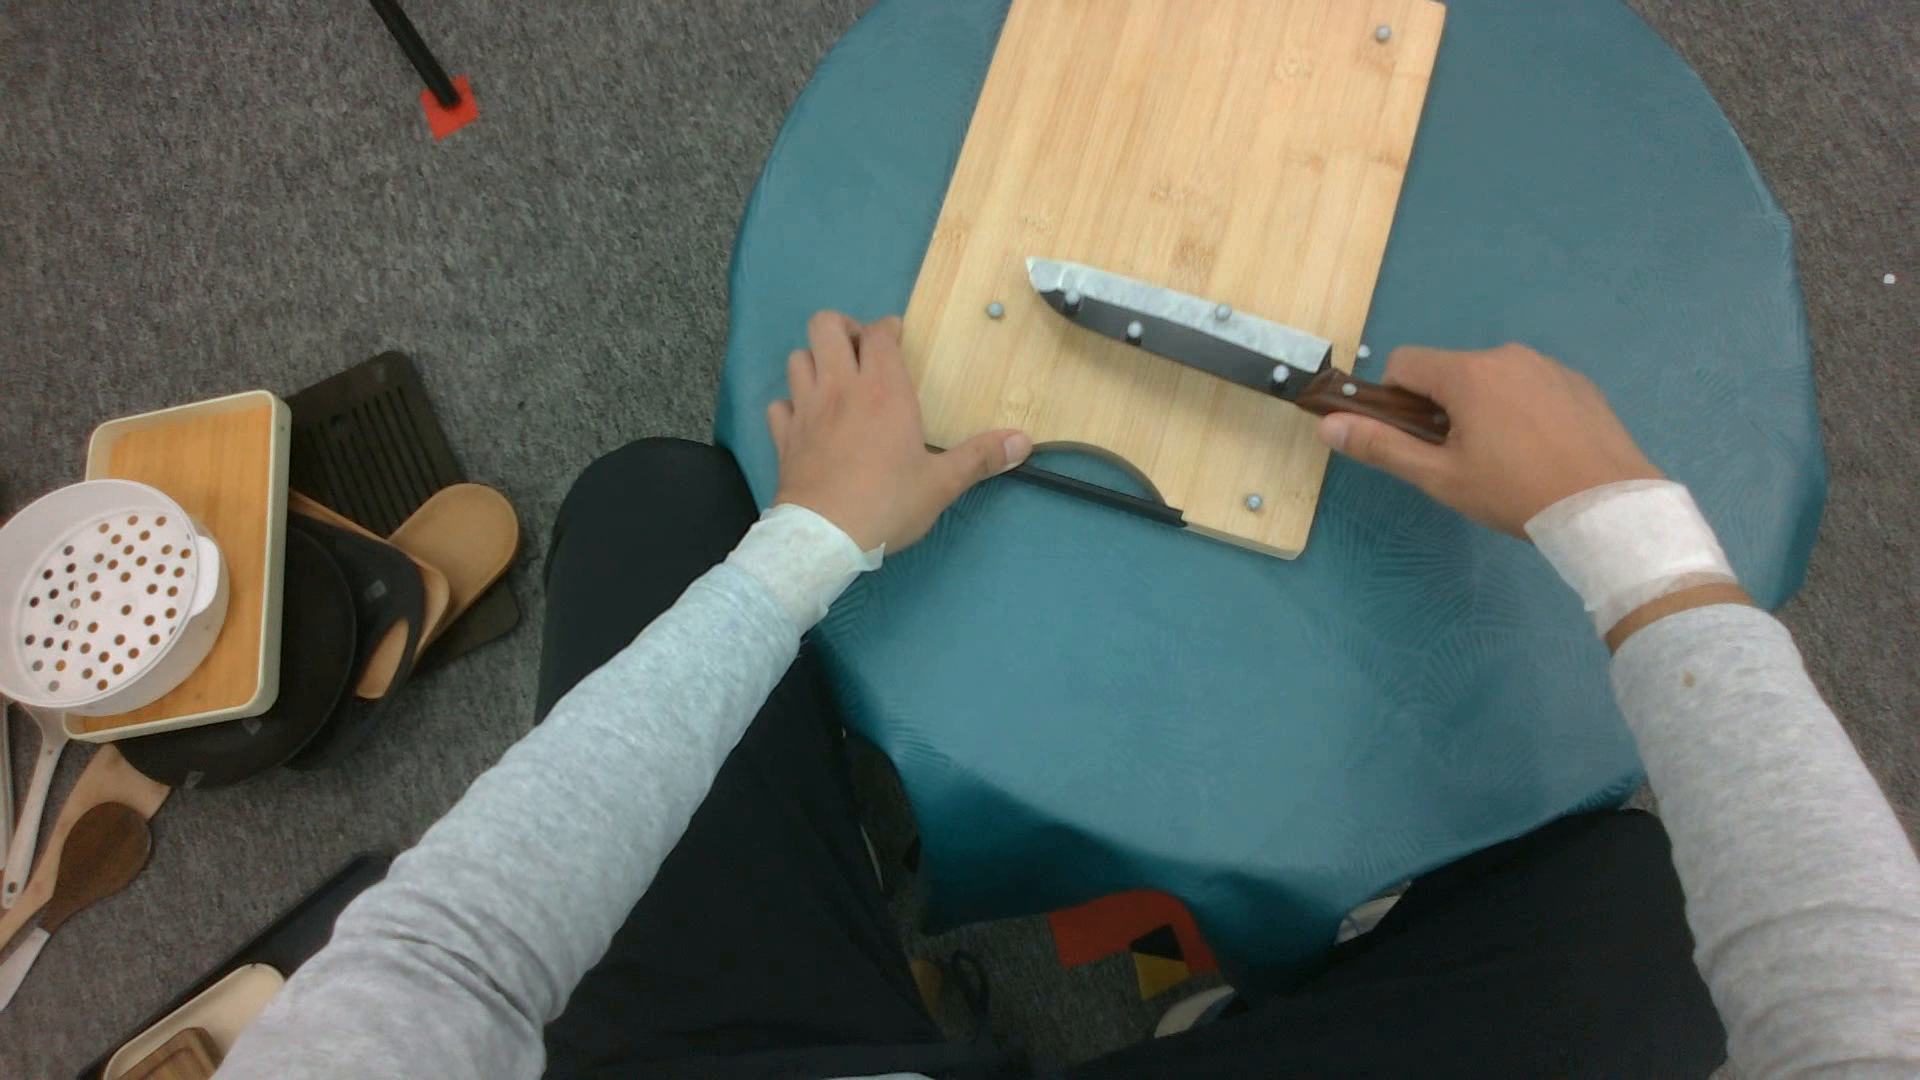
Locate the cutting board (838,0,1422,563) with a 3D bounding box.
[{"bbox_3d":[0.102,-0.182,0.773,0.250,0.023,0.349,16,76,4],"label":"cutting board"}]

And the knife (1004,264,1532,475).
[{"bbox_3d":[0.151,-0.093,0.709,0.289,0.020,0.050,23,59,16],"label":"knife"}]
